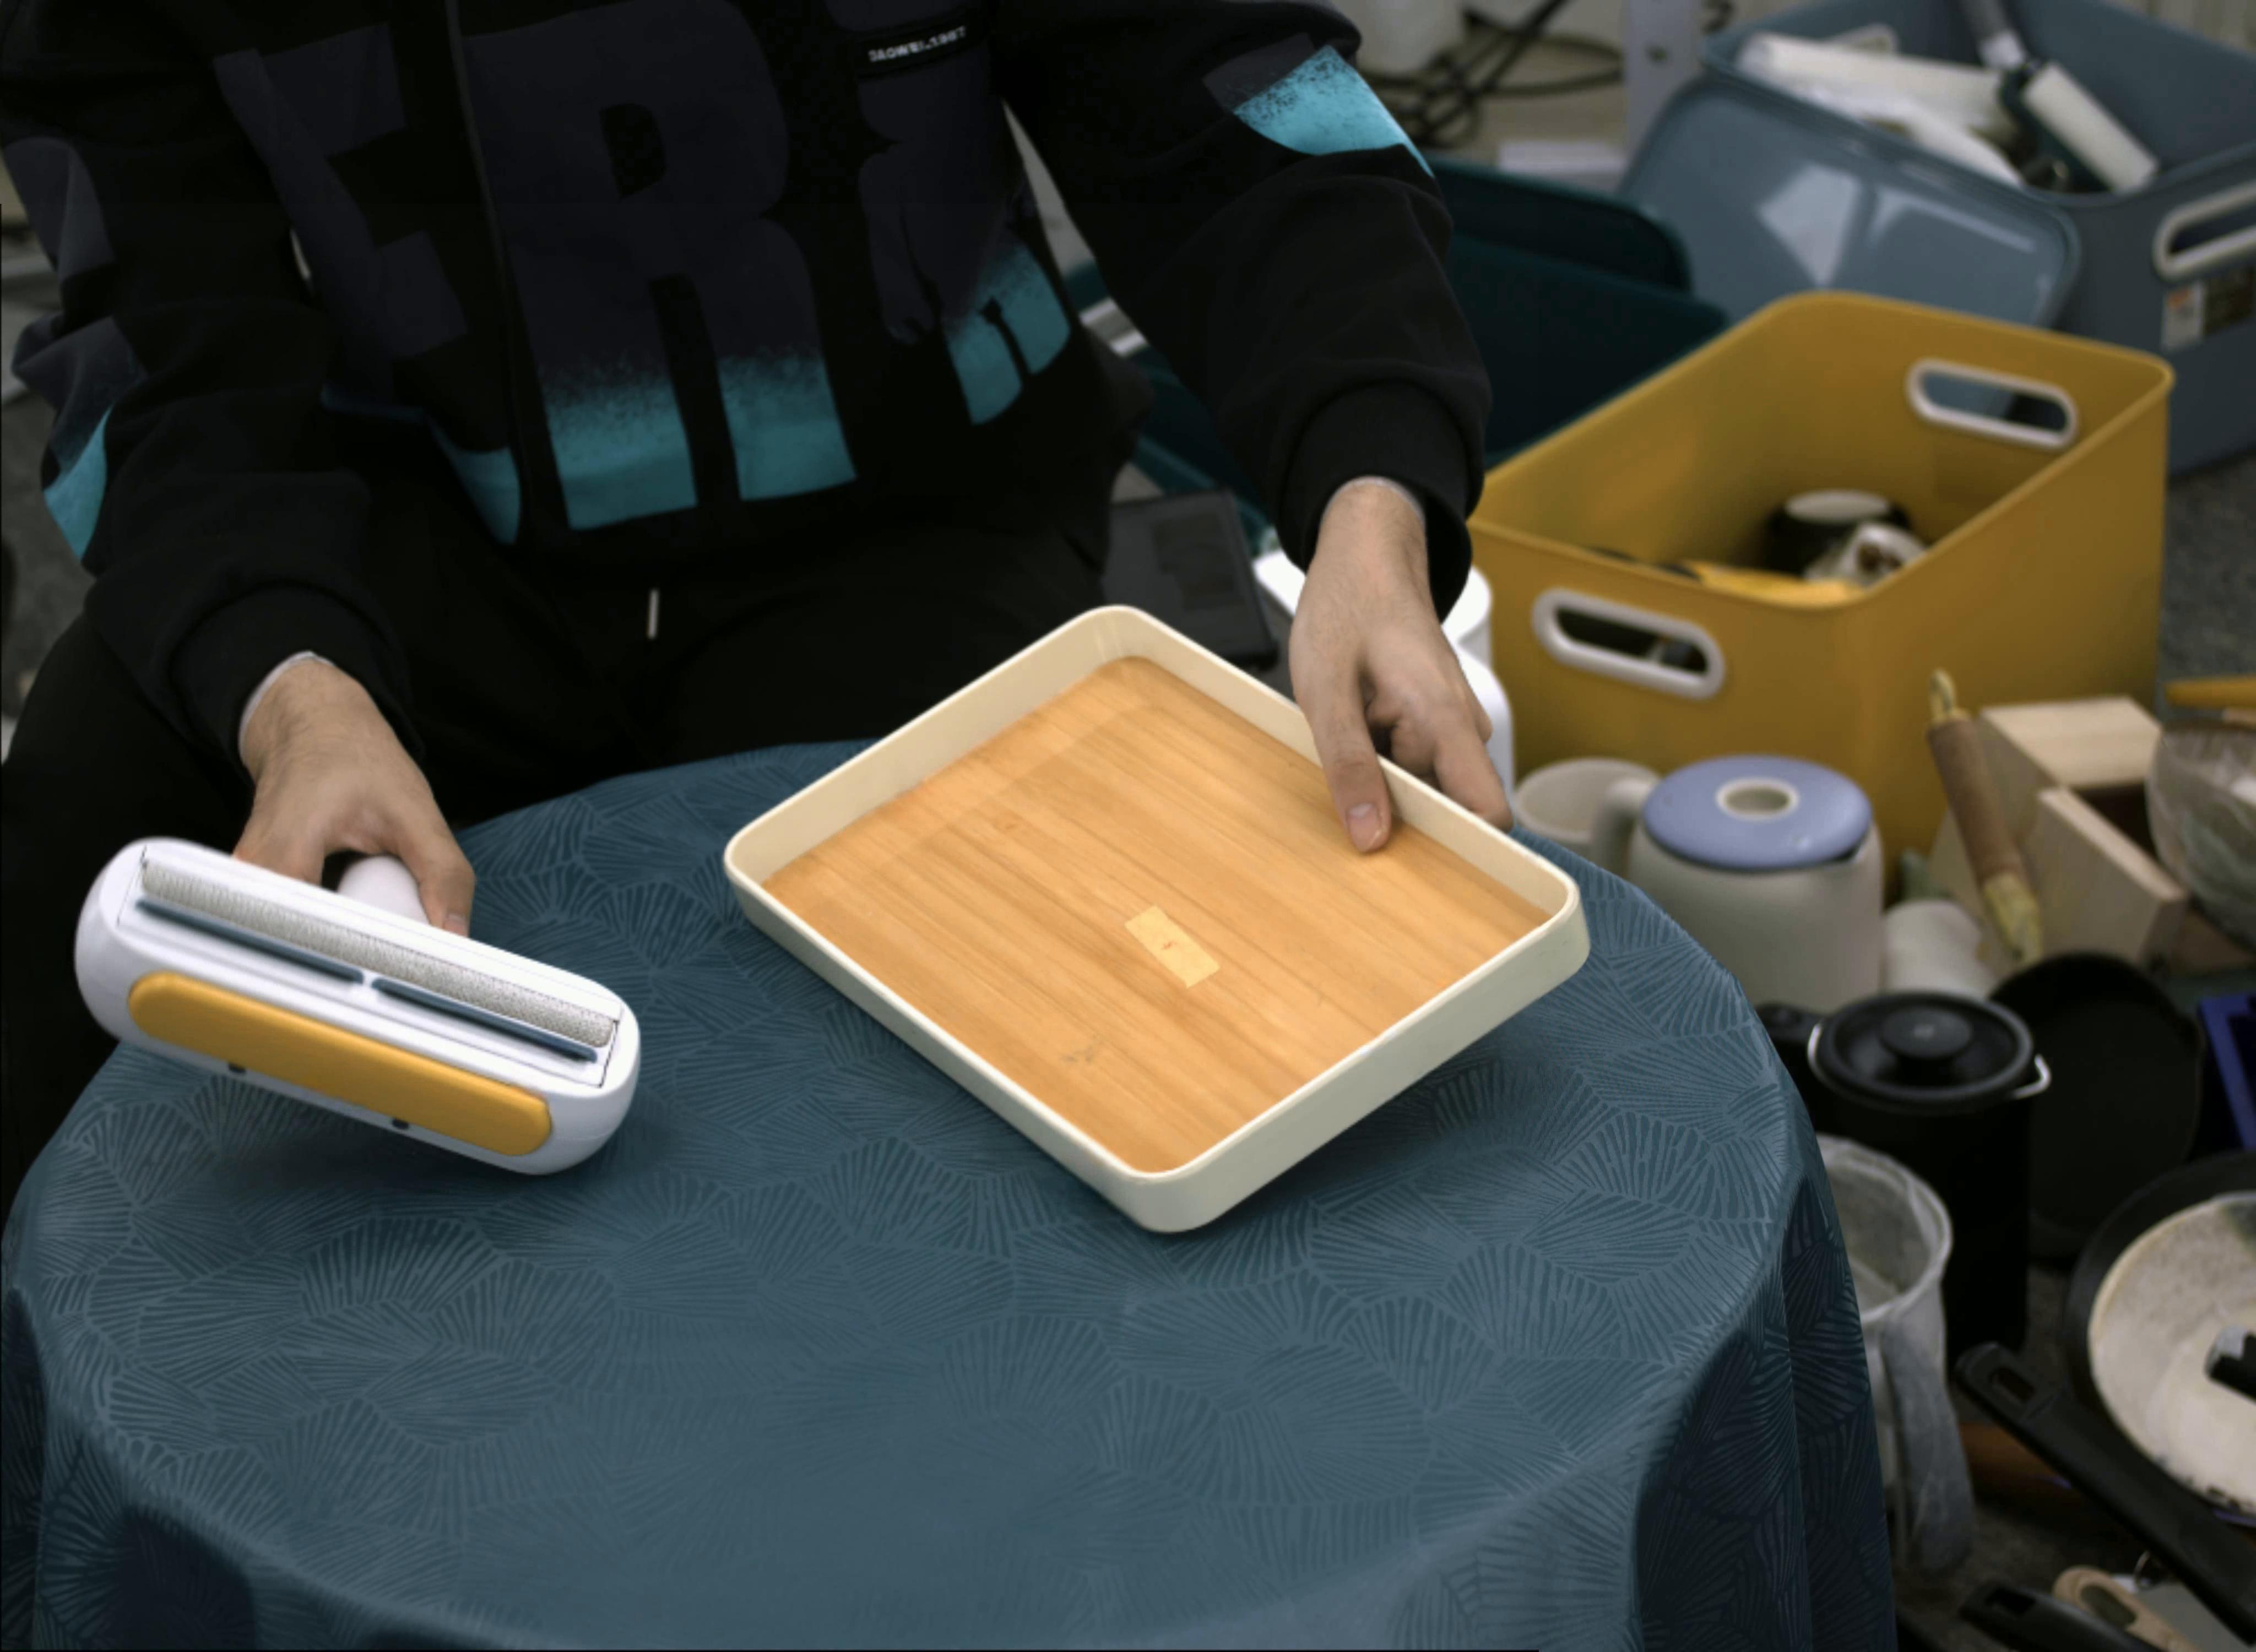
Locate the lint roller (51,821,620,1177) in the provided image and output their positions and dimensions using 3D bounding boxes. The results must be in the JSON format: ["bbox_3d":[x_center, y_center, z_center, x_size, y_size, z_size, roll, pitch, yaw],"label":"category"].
[{"bbox_3d":[-0.260,0.039,1.933,0.192,0.073,0.196,16,30,-2],"label":"lint roller"}]

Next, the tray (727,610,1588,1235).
[{"bbox_3d":[0.005,0.027,1.961,0.193,0.027,0.301,-31,36,-19],"label":"tray"}]
